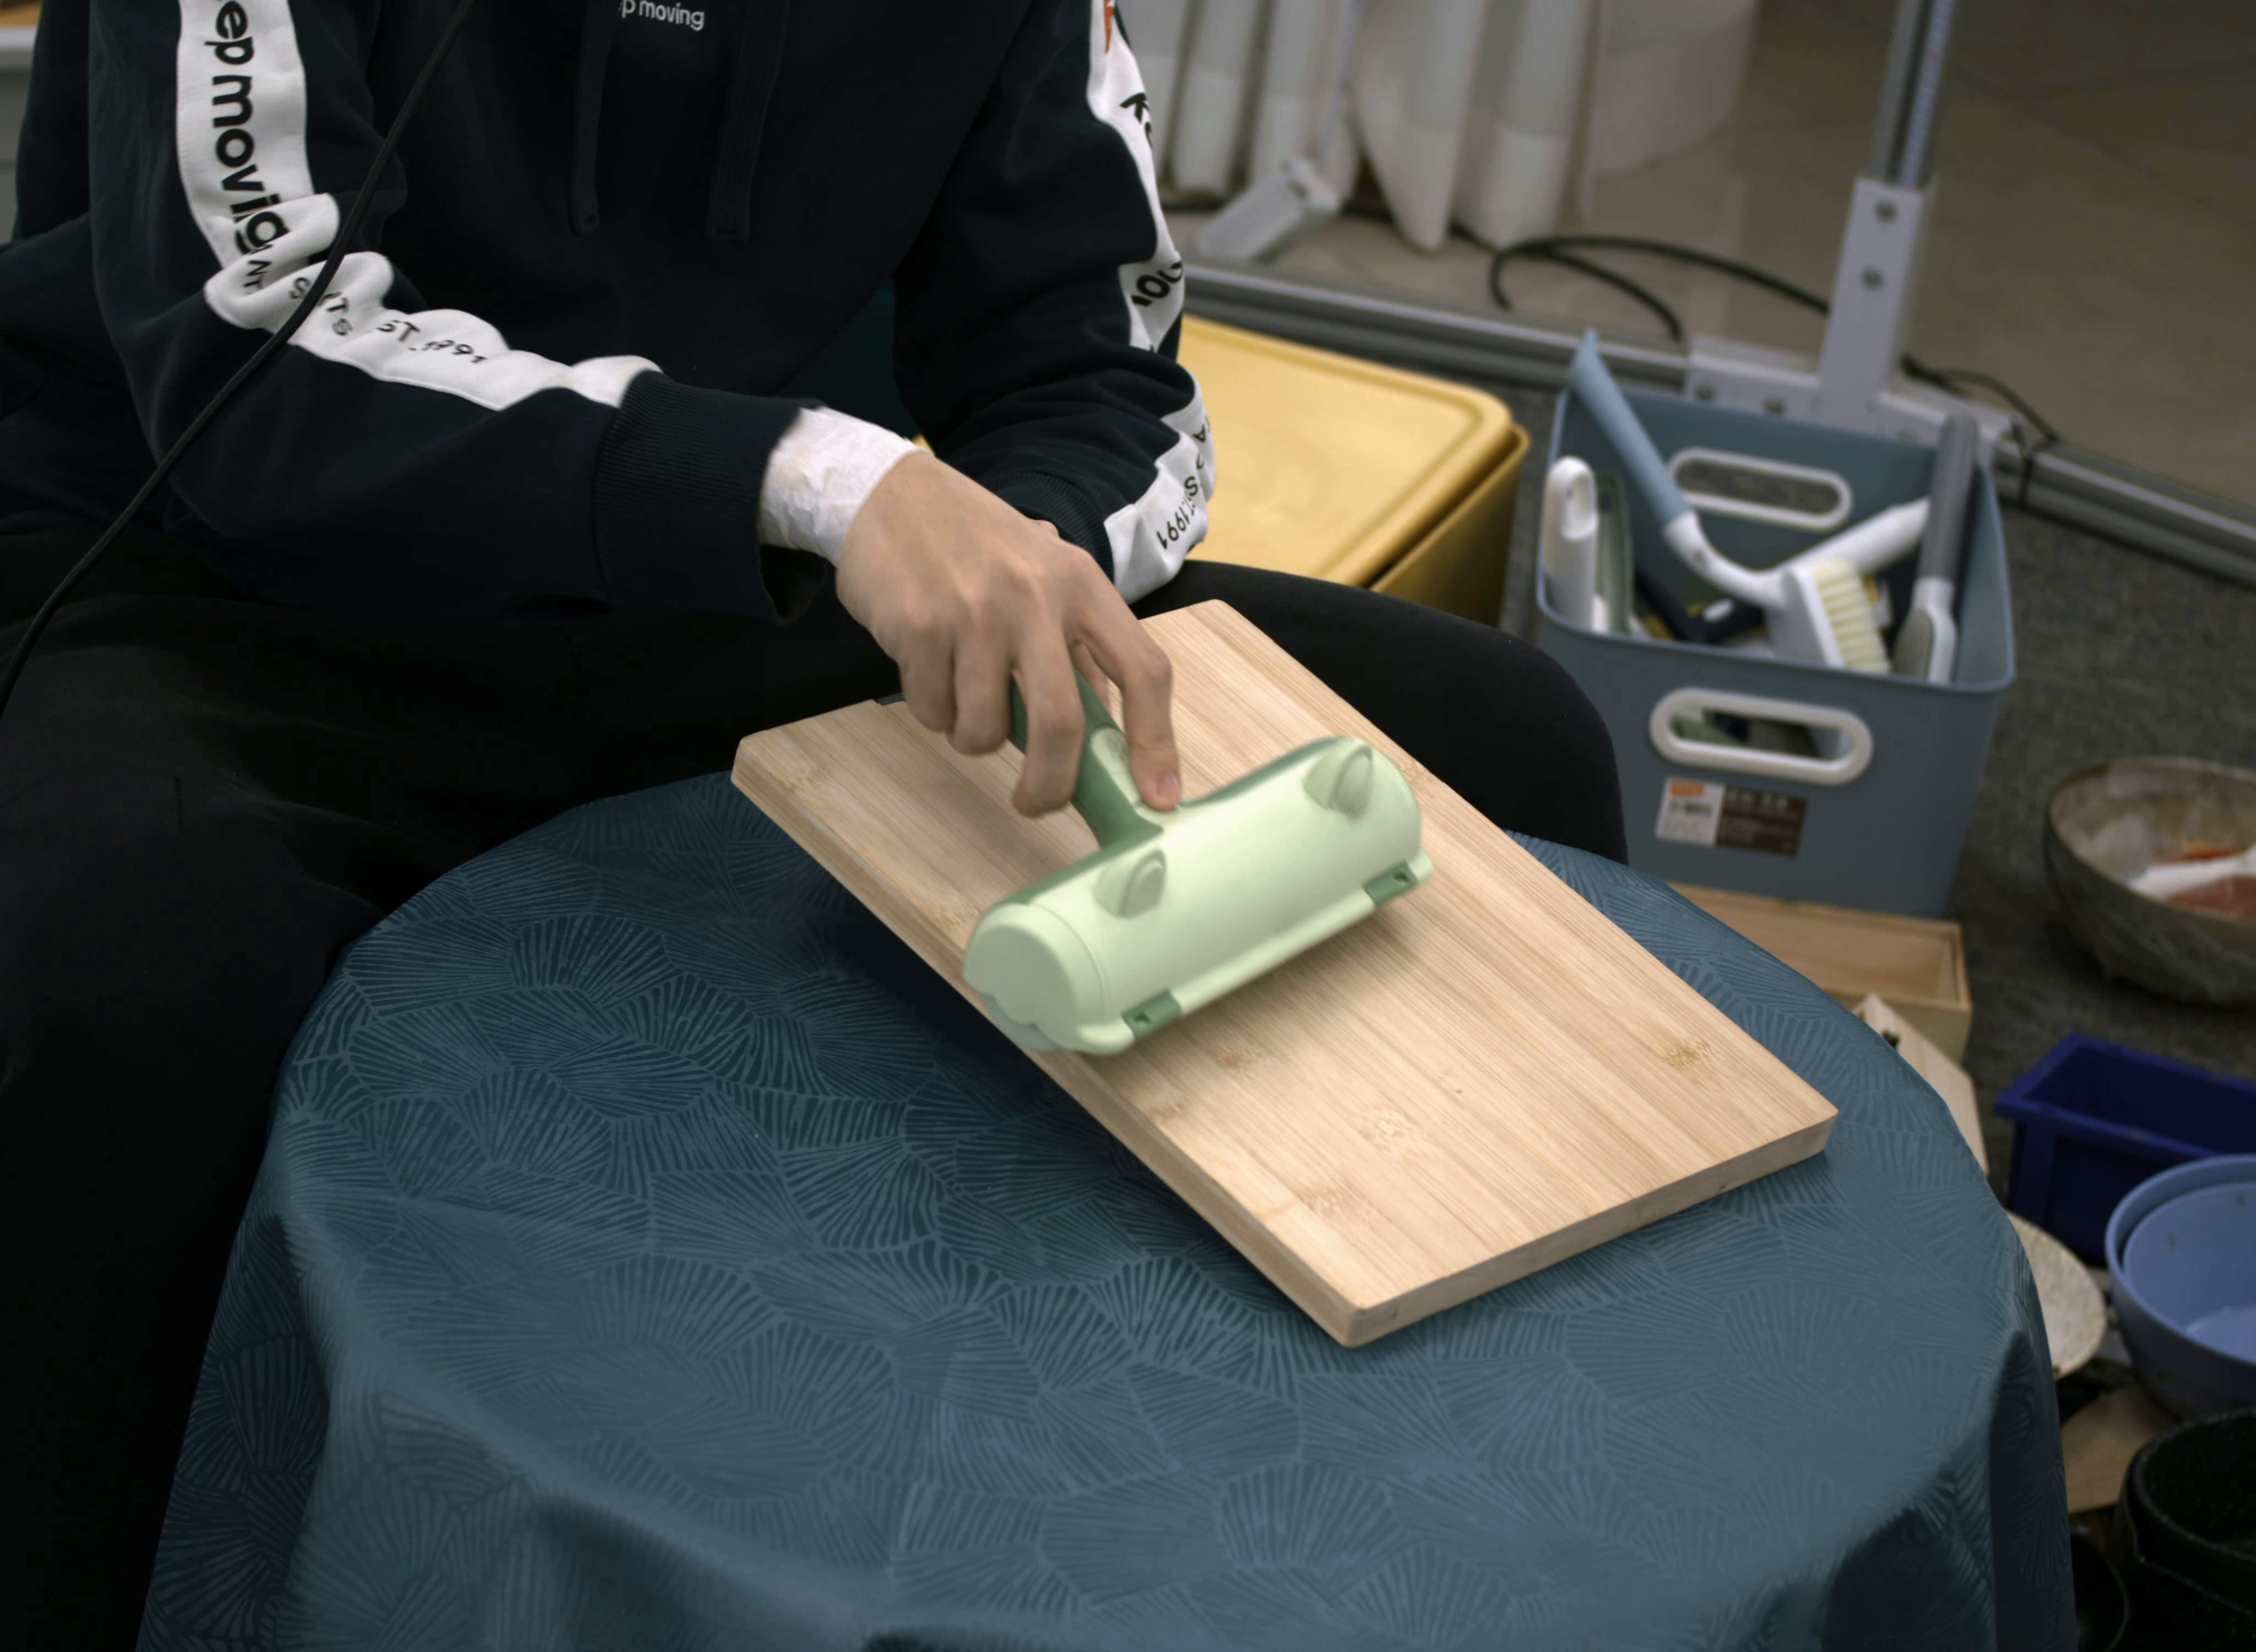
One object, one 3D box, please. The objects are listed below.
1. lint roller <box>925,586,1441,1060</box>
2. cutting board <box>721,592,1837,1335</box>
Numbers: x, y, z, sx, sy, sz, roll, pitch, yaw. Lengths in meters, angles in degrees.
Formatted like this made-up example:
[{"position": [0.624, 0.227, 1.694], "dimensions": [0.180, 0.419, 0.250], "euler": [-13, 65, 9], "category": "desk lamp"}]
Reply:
[{"position": [0.000, -0.024, 1.838], "dimensions": [0.198, 0.082, 0.184], "euler": [-25, 76, -44], "category": "lint roller"}, {"position": [0.050, 0.040, 1.890], "dimensions": [0.249, 0.023, 0.351], "euler": [-18, 46, -39], "category": "cutting board"}]
